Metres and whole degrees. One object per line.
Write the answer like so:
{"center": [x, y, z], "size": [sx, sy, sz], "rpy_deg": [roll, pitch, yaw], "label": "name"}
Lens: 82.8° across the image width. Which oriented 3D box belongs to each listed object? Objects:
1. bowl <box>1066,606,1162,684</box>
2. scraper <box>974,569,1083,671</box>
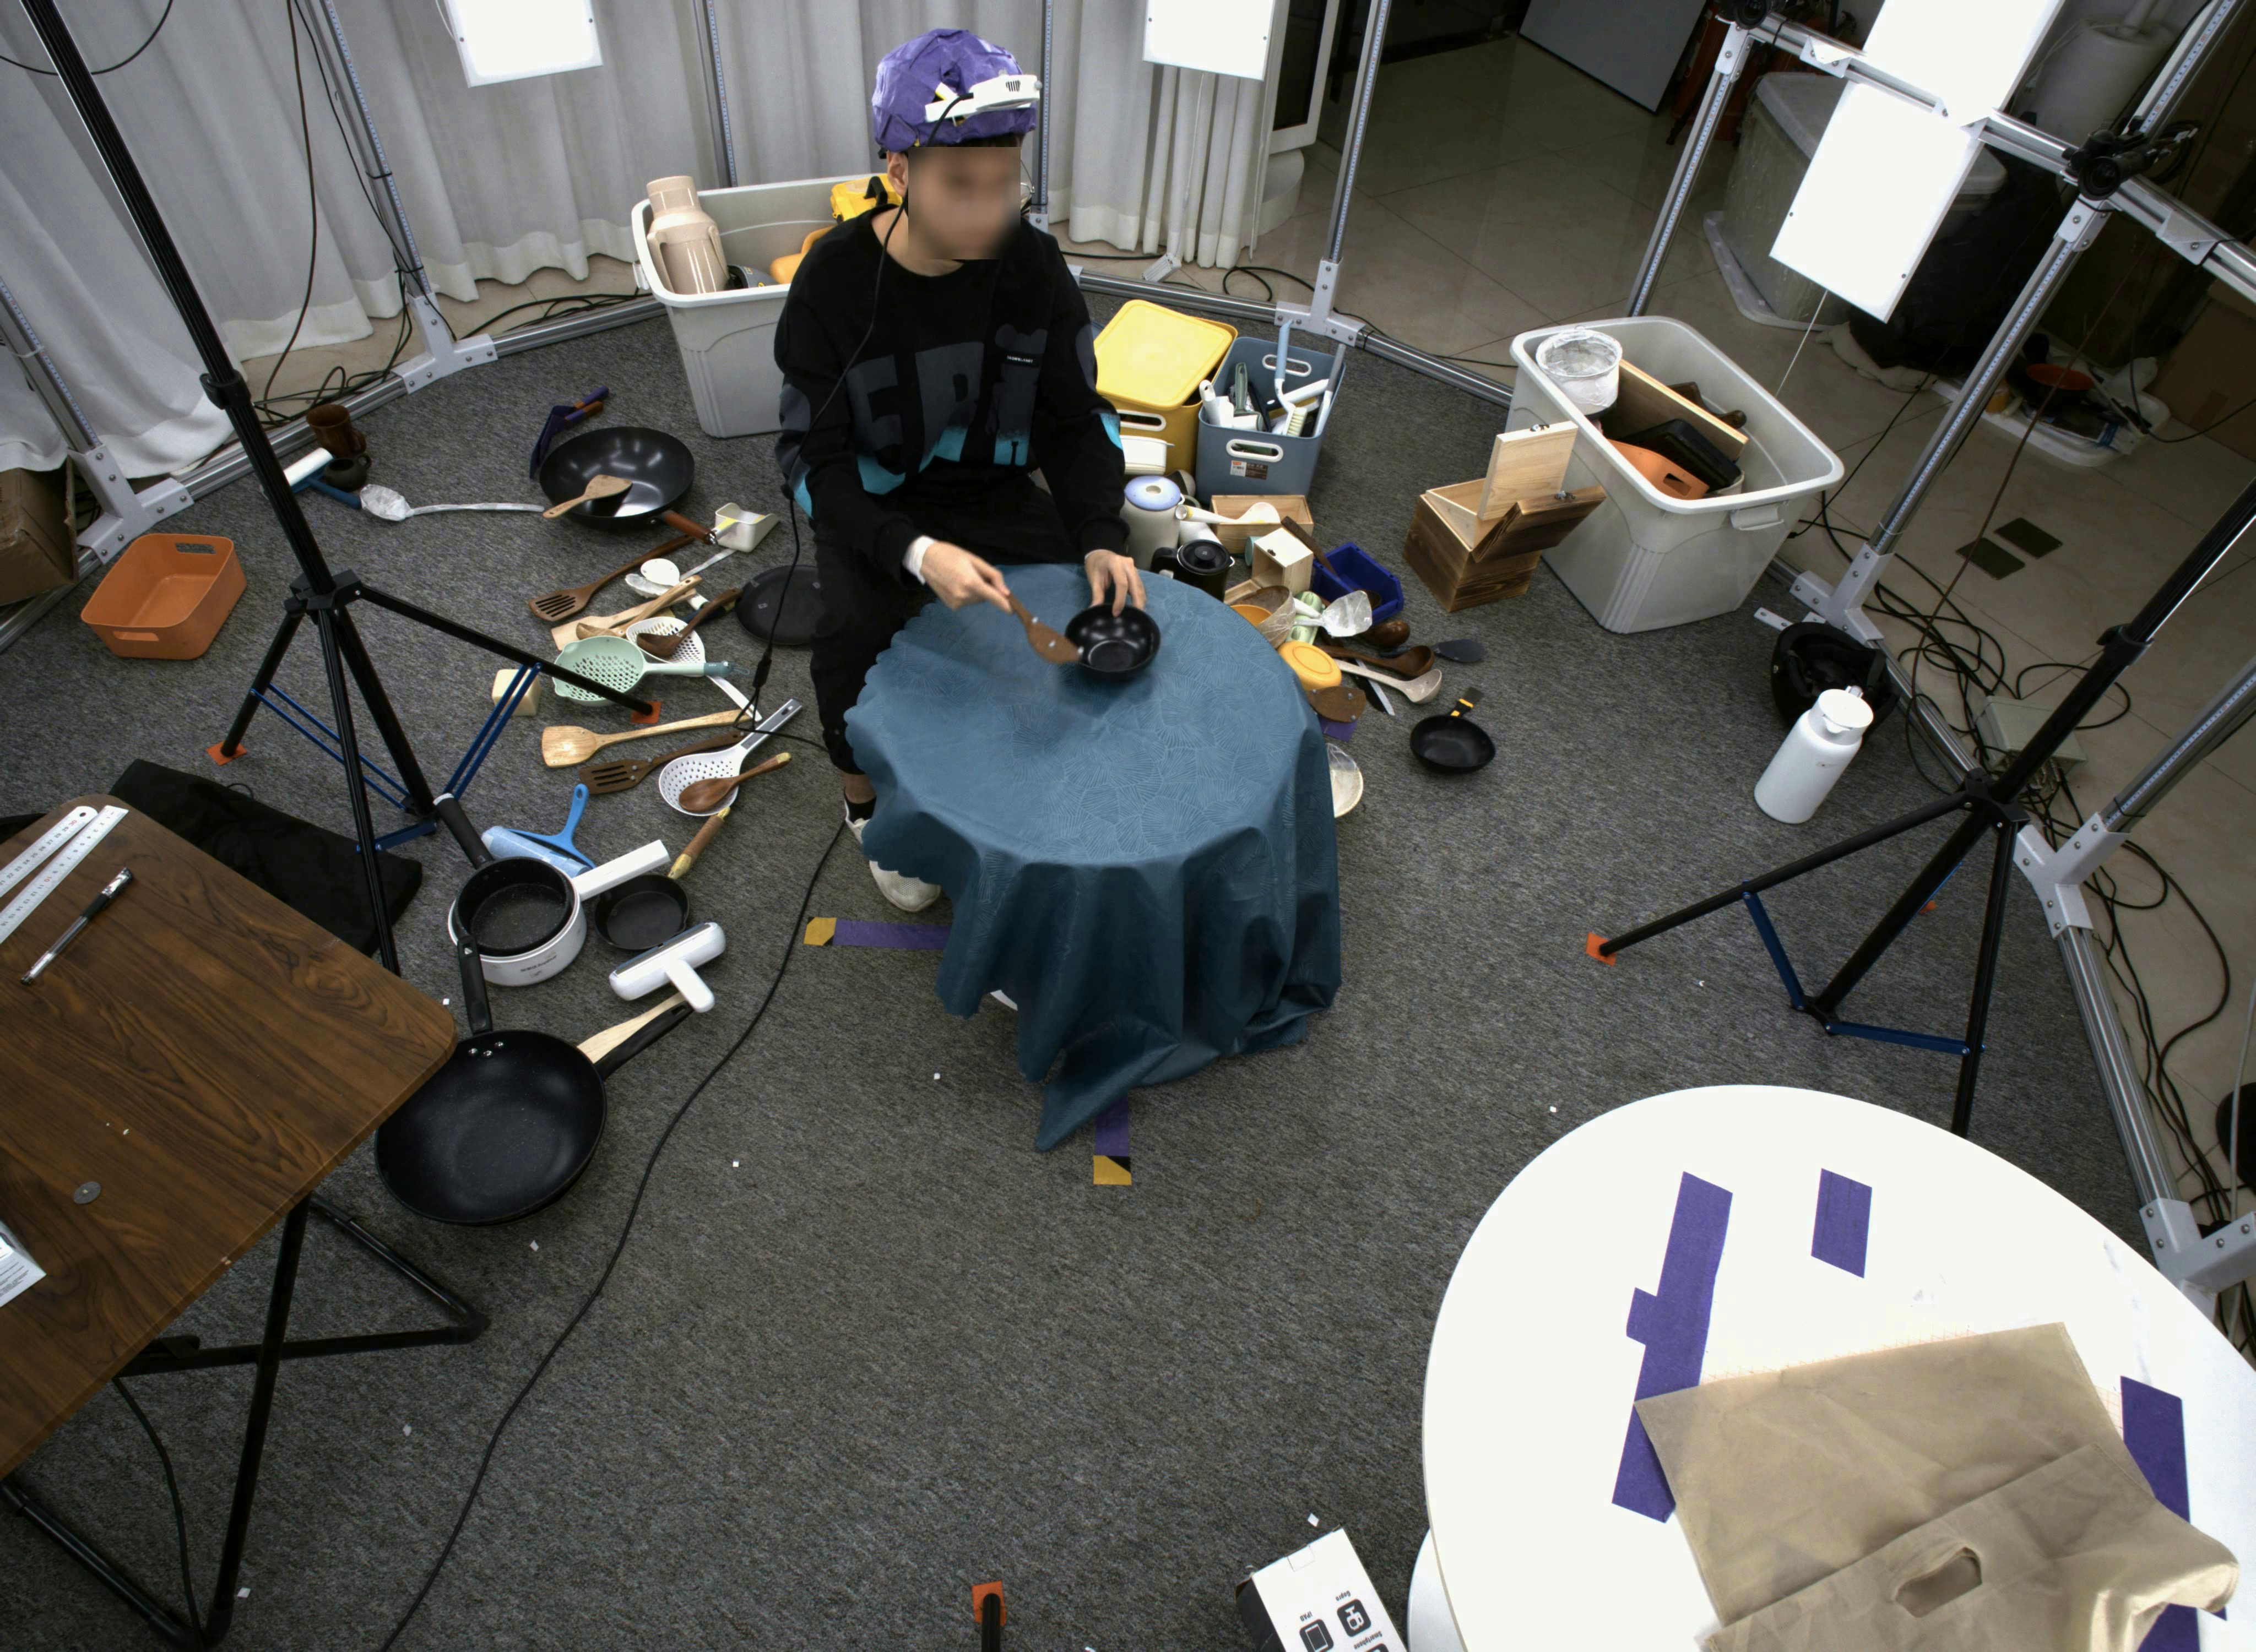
{"center": [-0.020, -0.256, 1.872], "size": [0.140, 0.048, 0.143], "rpy_deg": [-1, 52, 1], "label": "bowl"}
{"center": [-0.147, -0.287, 1.786], "size": [0.076, 0.010, 0.214], "rpy_deg": [-17, 58, -45], "label": "scraper"}
